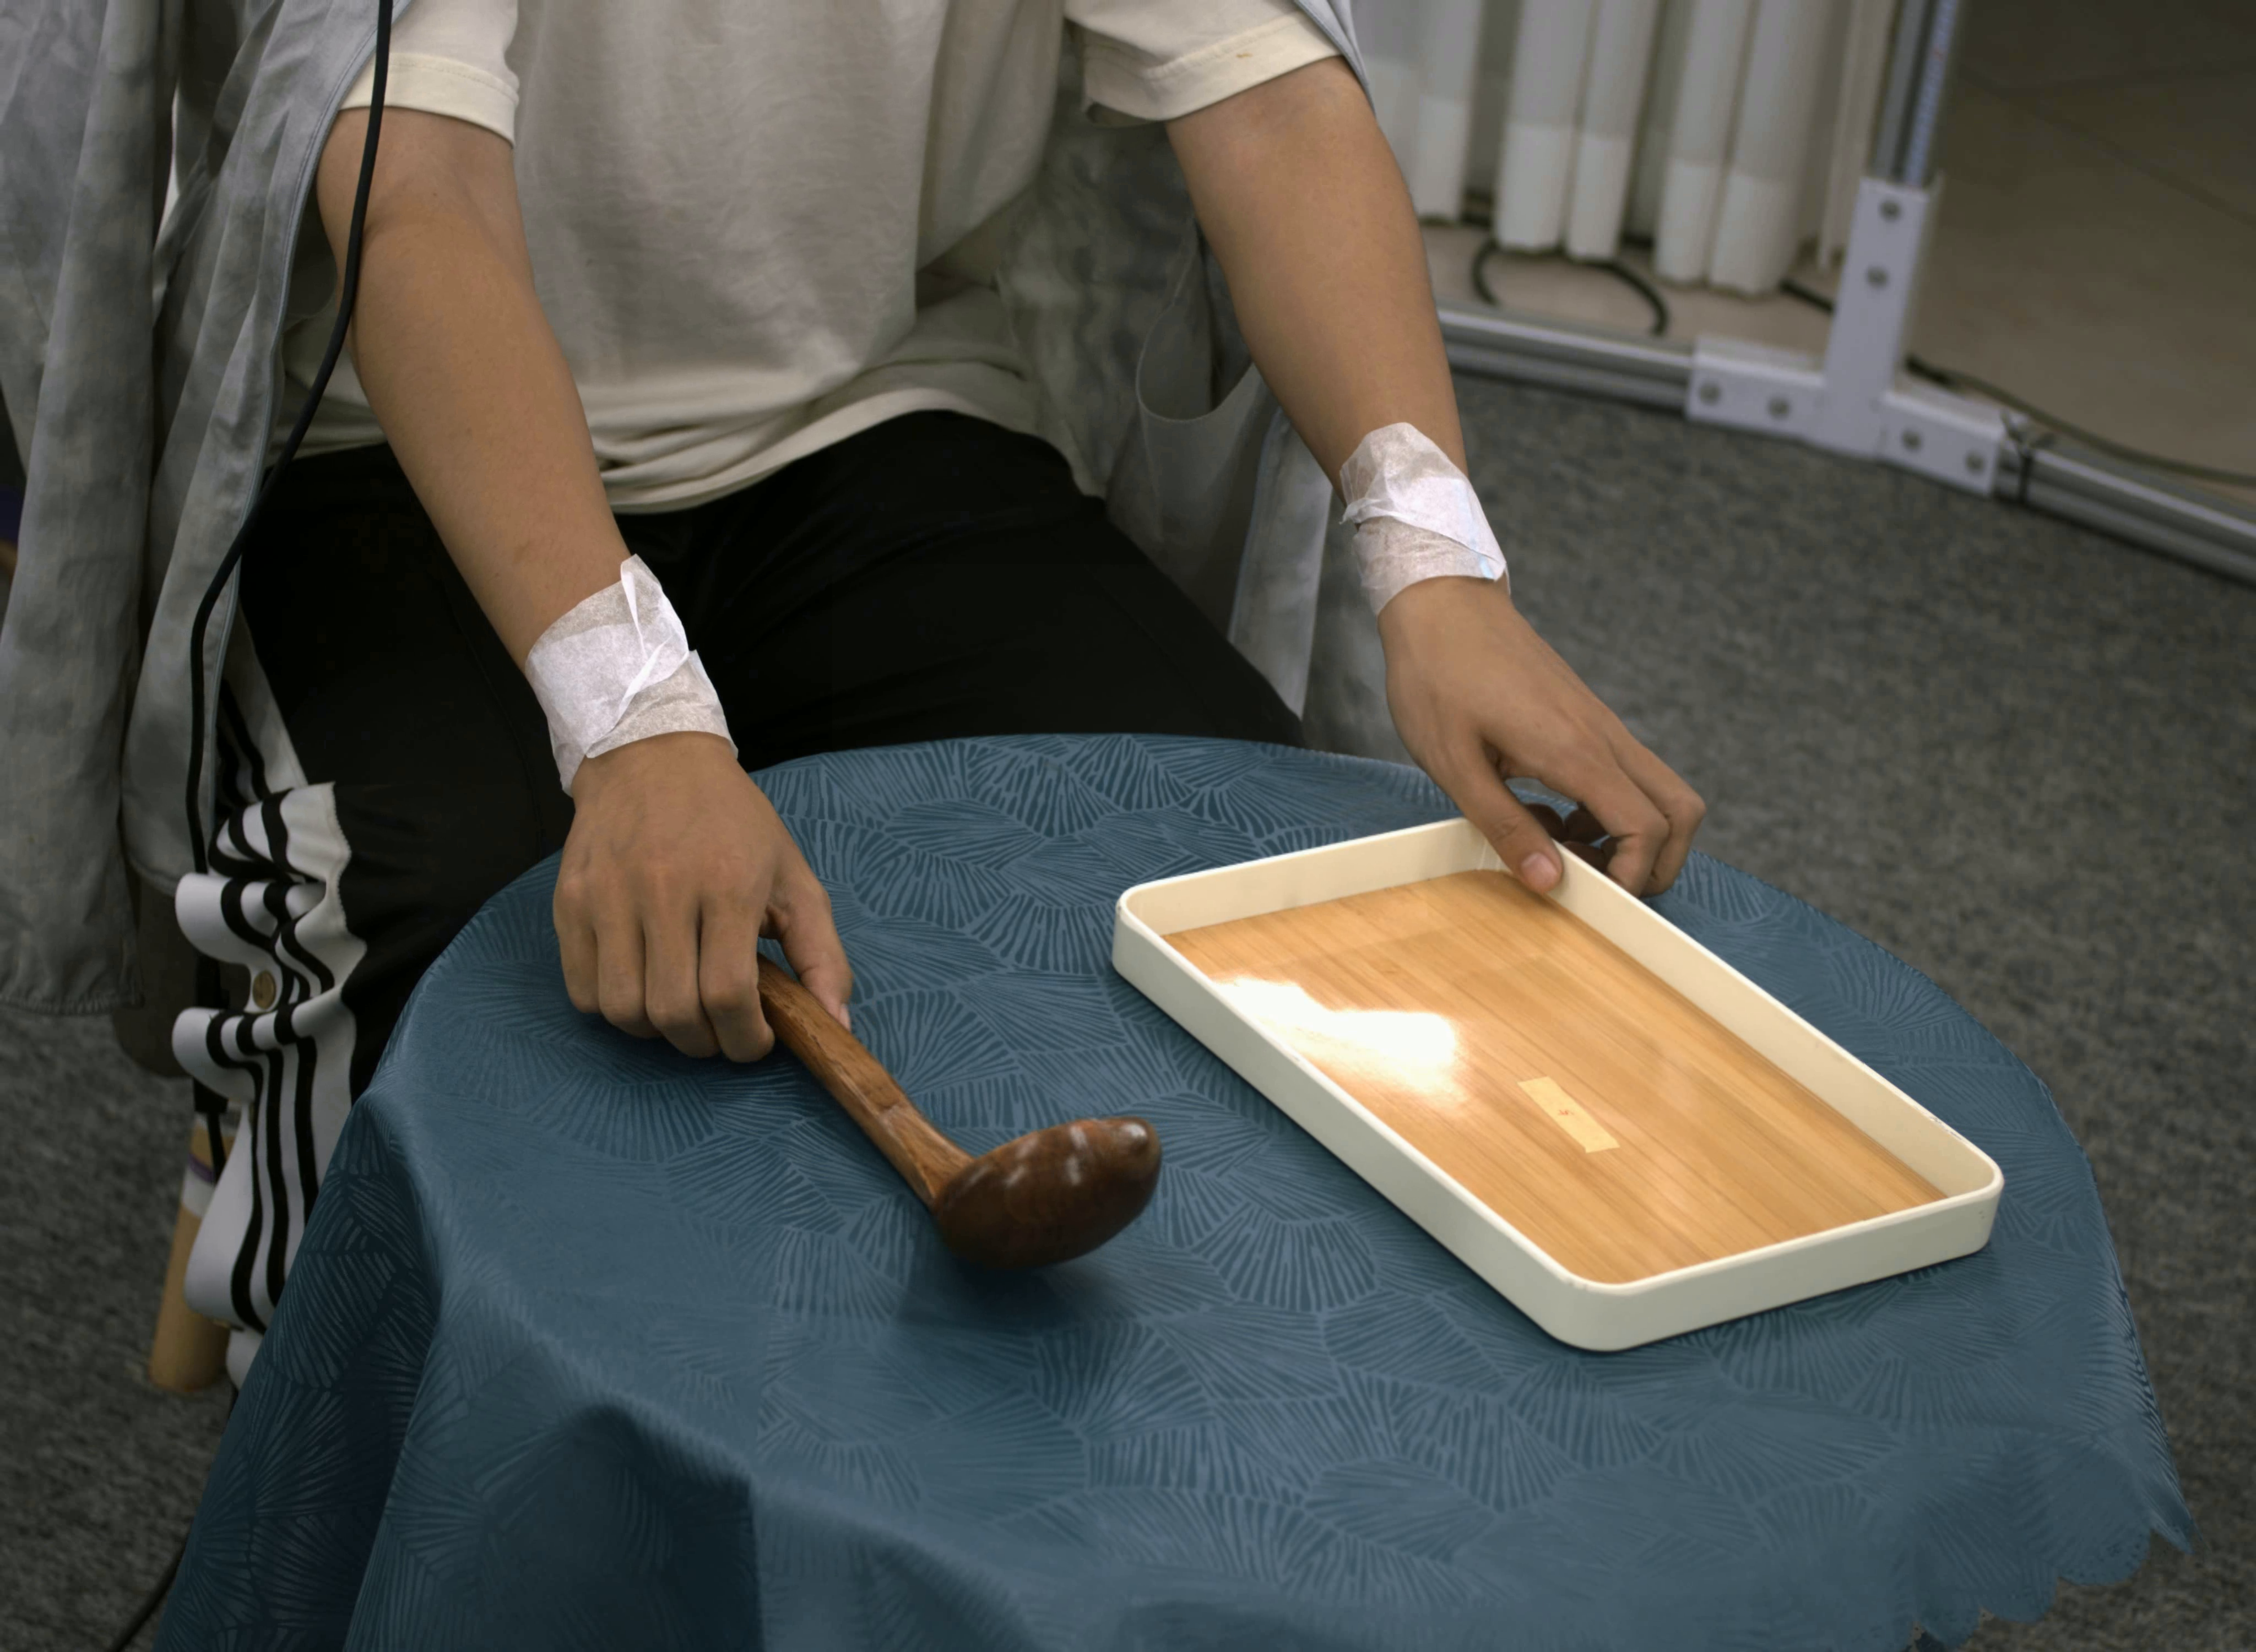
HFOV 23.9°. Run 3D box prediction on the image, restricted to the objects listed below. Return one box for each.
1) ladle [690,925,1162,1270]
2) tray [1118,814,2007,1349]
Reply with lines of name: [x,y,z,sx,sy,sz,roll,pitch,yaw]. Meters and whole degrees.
ladle: [-0.081,0.071,1.804,0.081,0.076,0.276,-2,27,-31]
tray: [0.148,0.084,1.885,0.190,0.027,0.303,-11,32,-31]
